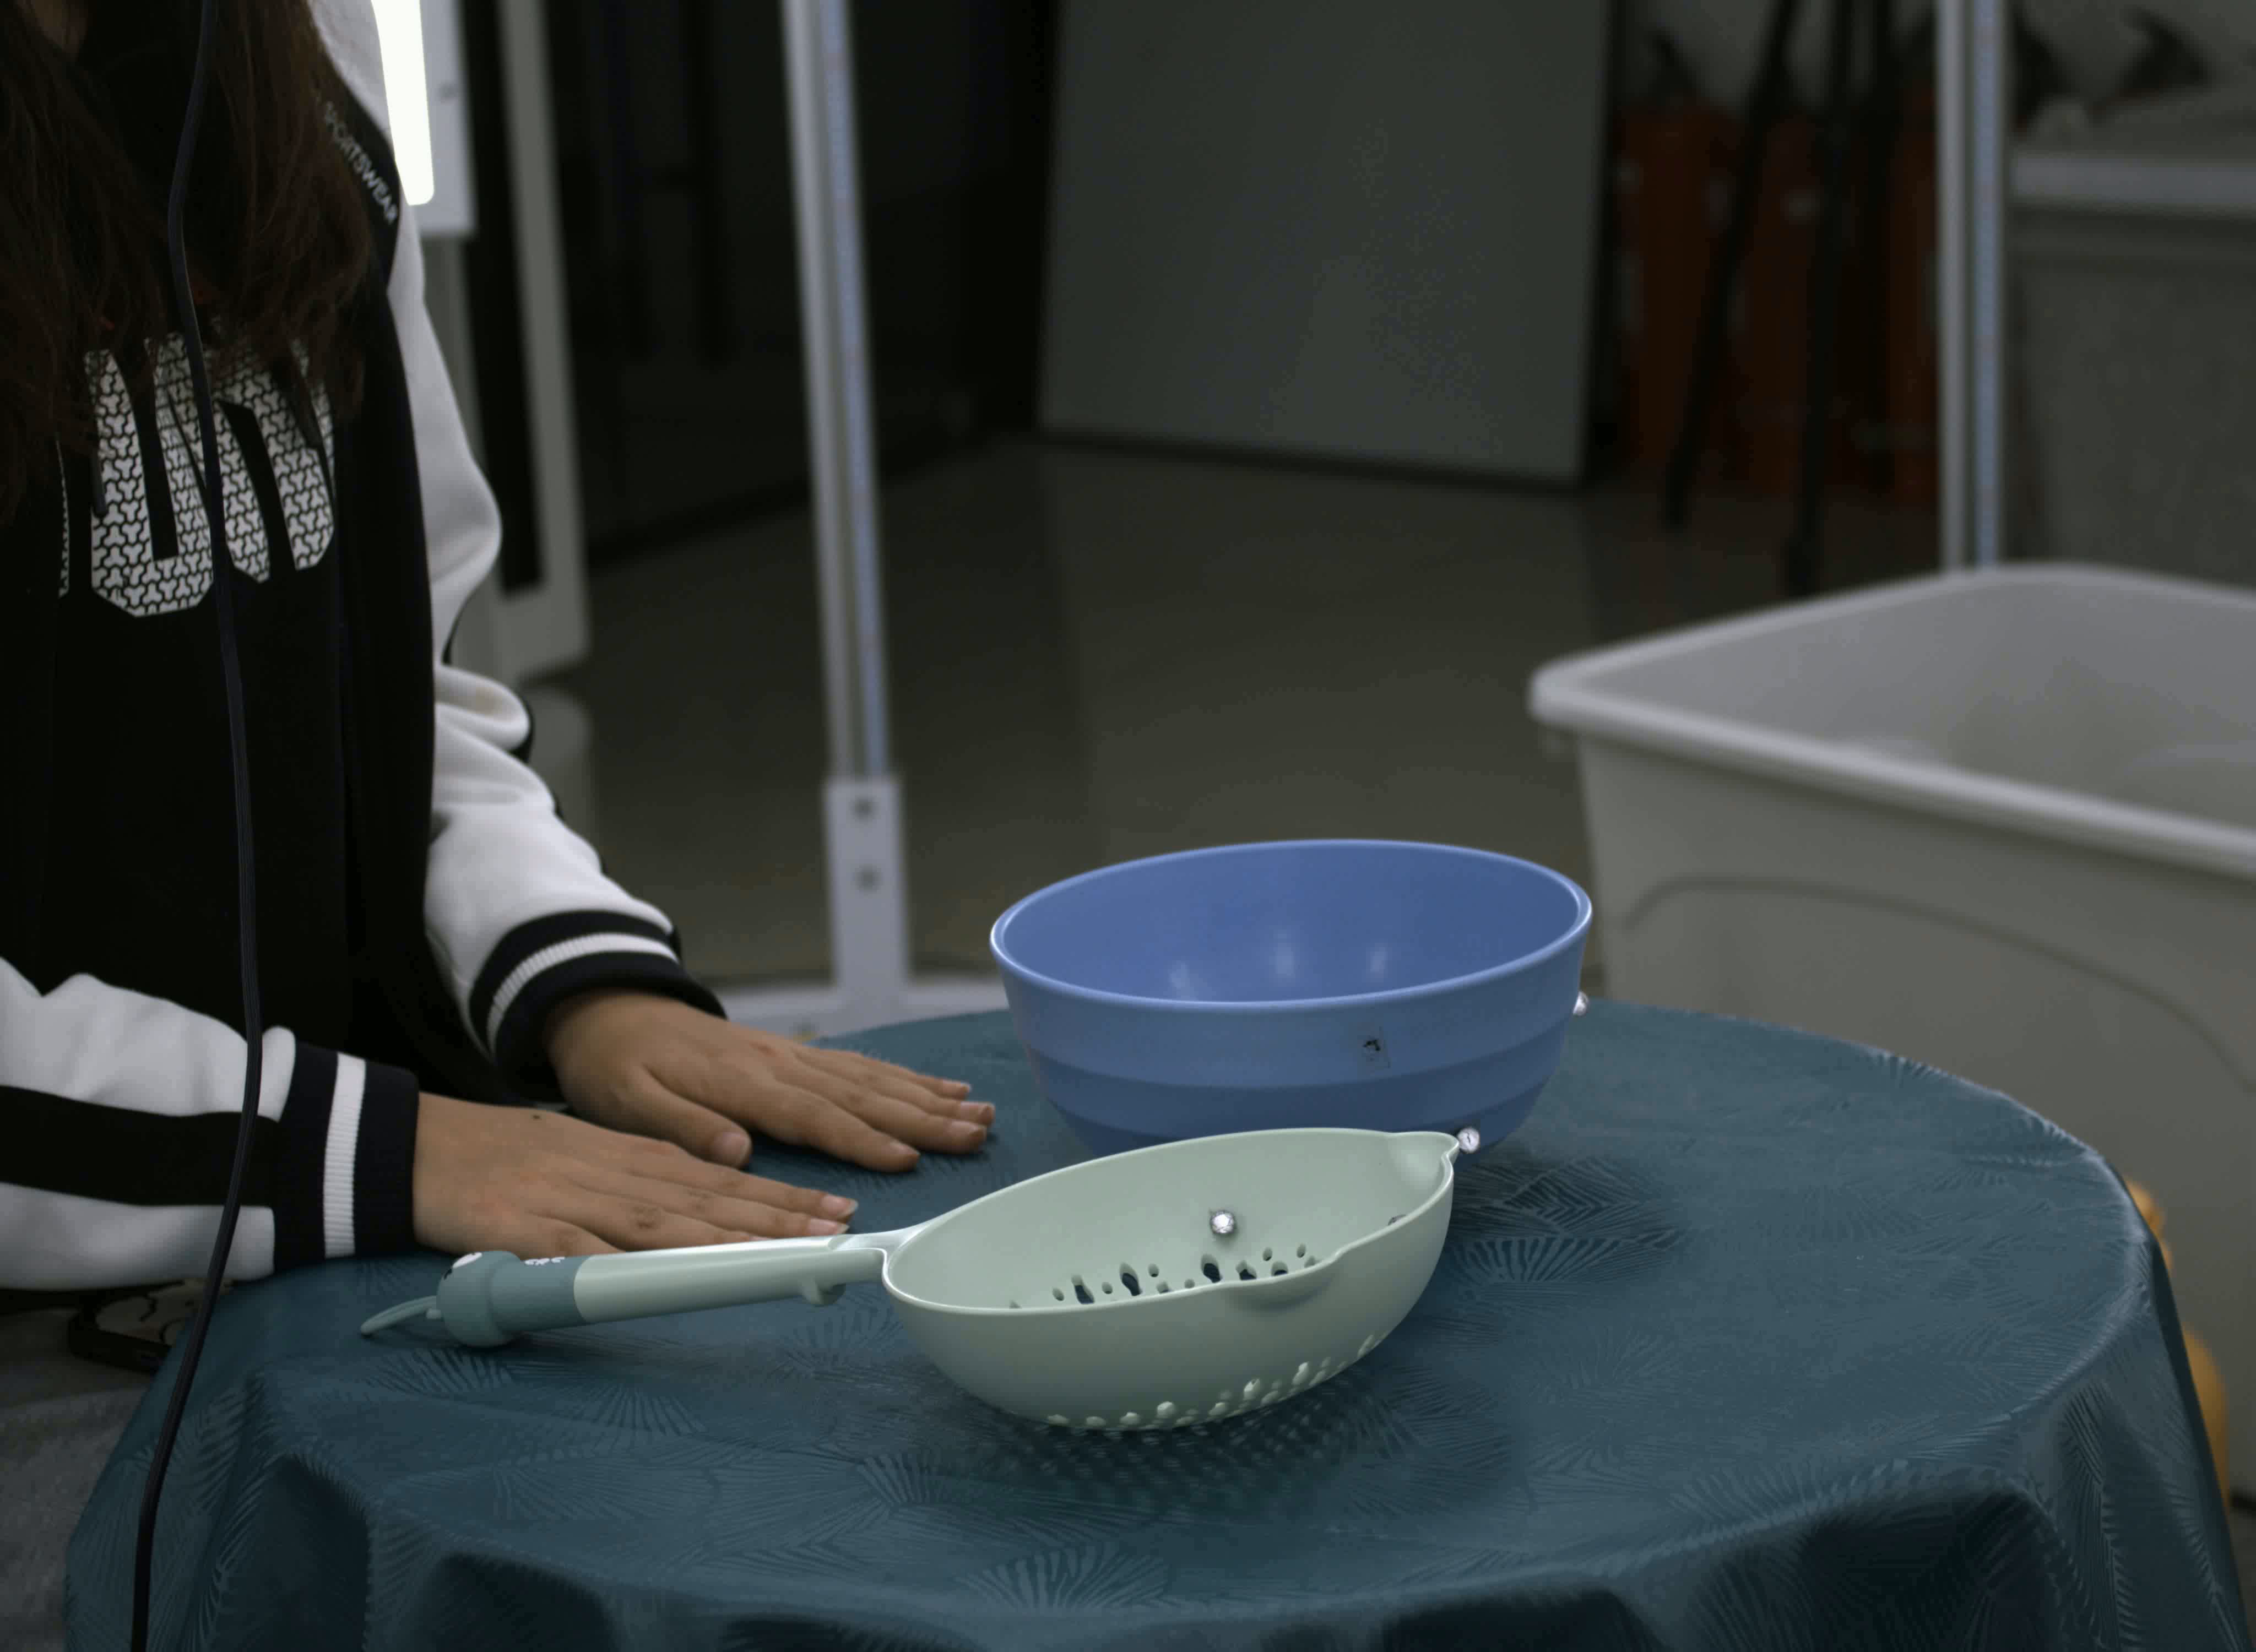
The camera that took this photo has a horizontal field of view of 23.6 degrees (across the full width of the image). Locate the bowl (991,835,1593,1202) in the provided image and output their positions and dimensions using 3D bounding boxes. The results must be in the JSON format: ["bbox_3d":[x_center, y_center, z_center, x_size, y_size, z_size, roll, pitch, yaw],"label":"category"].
[{"bbox_3d":[0.055,0.073,1.746,0.194,0.096,0.197,-4,14,0],"label":"bowl"}]

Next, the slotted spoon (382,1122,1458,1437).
[{"bbox_3d":[-0.072,0.137,1.605,0.359,0.076,0.167,0,13,25],"label":"slotted spoon"}]
